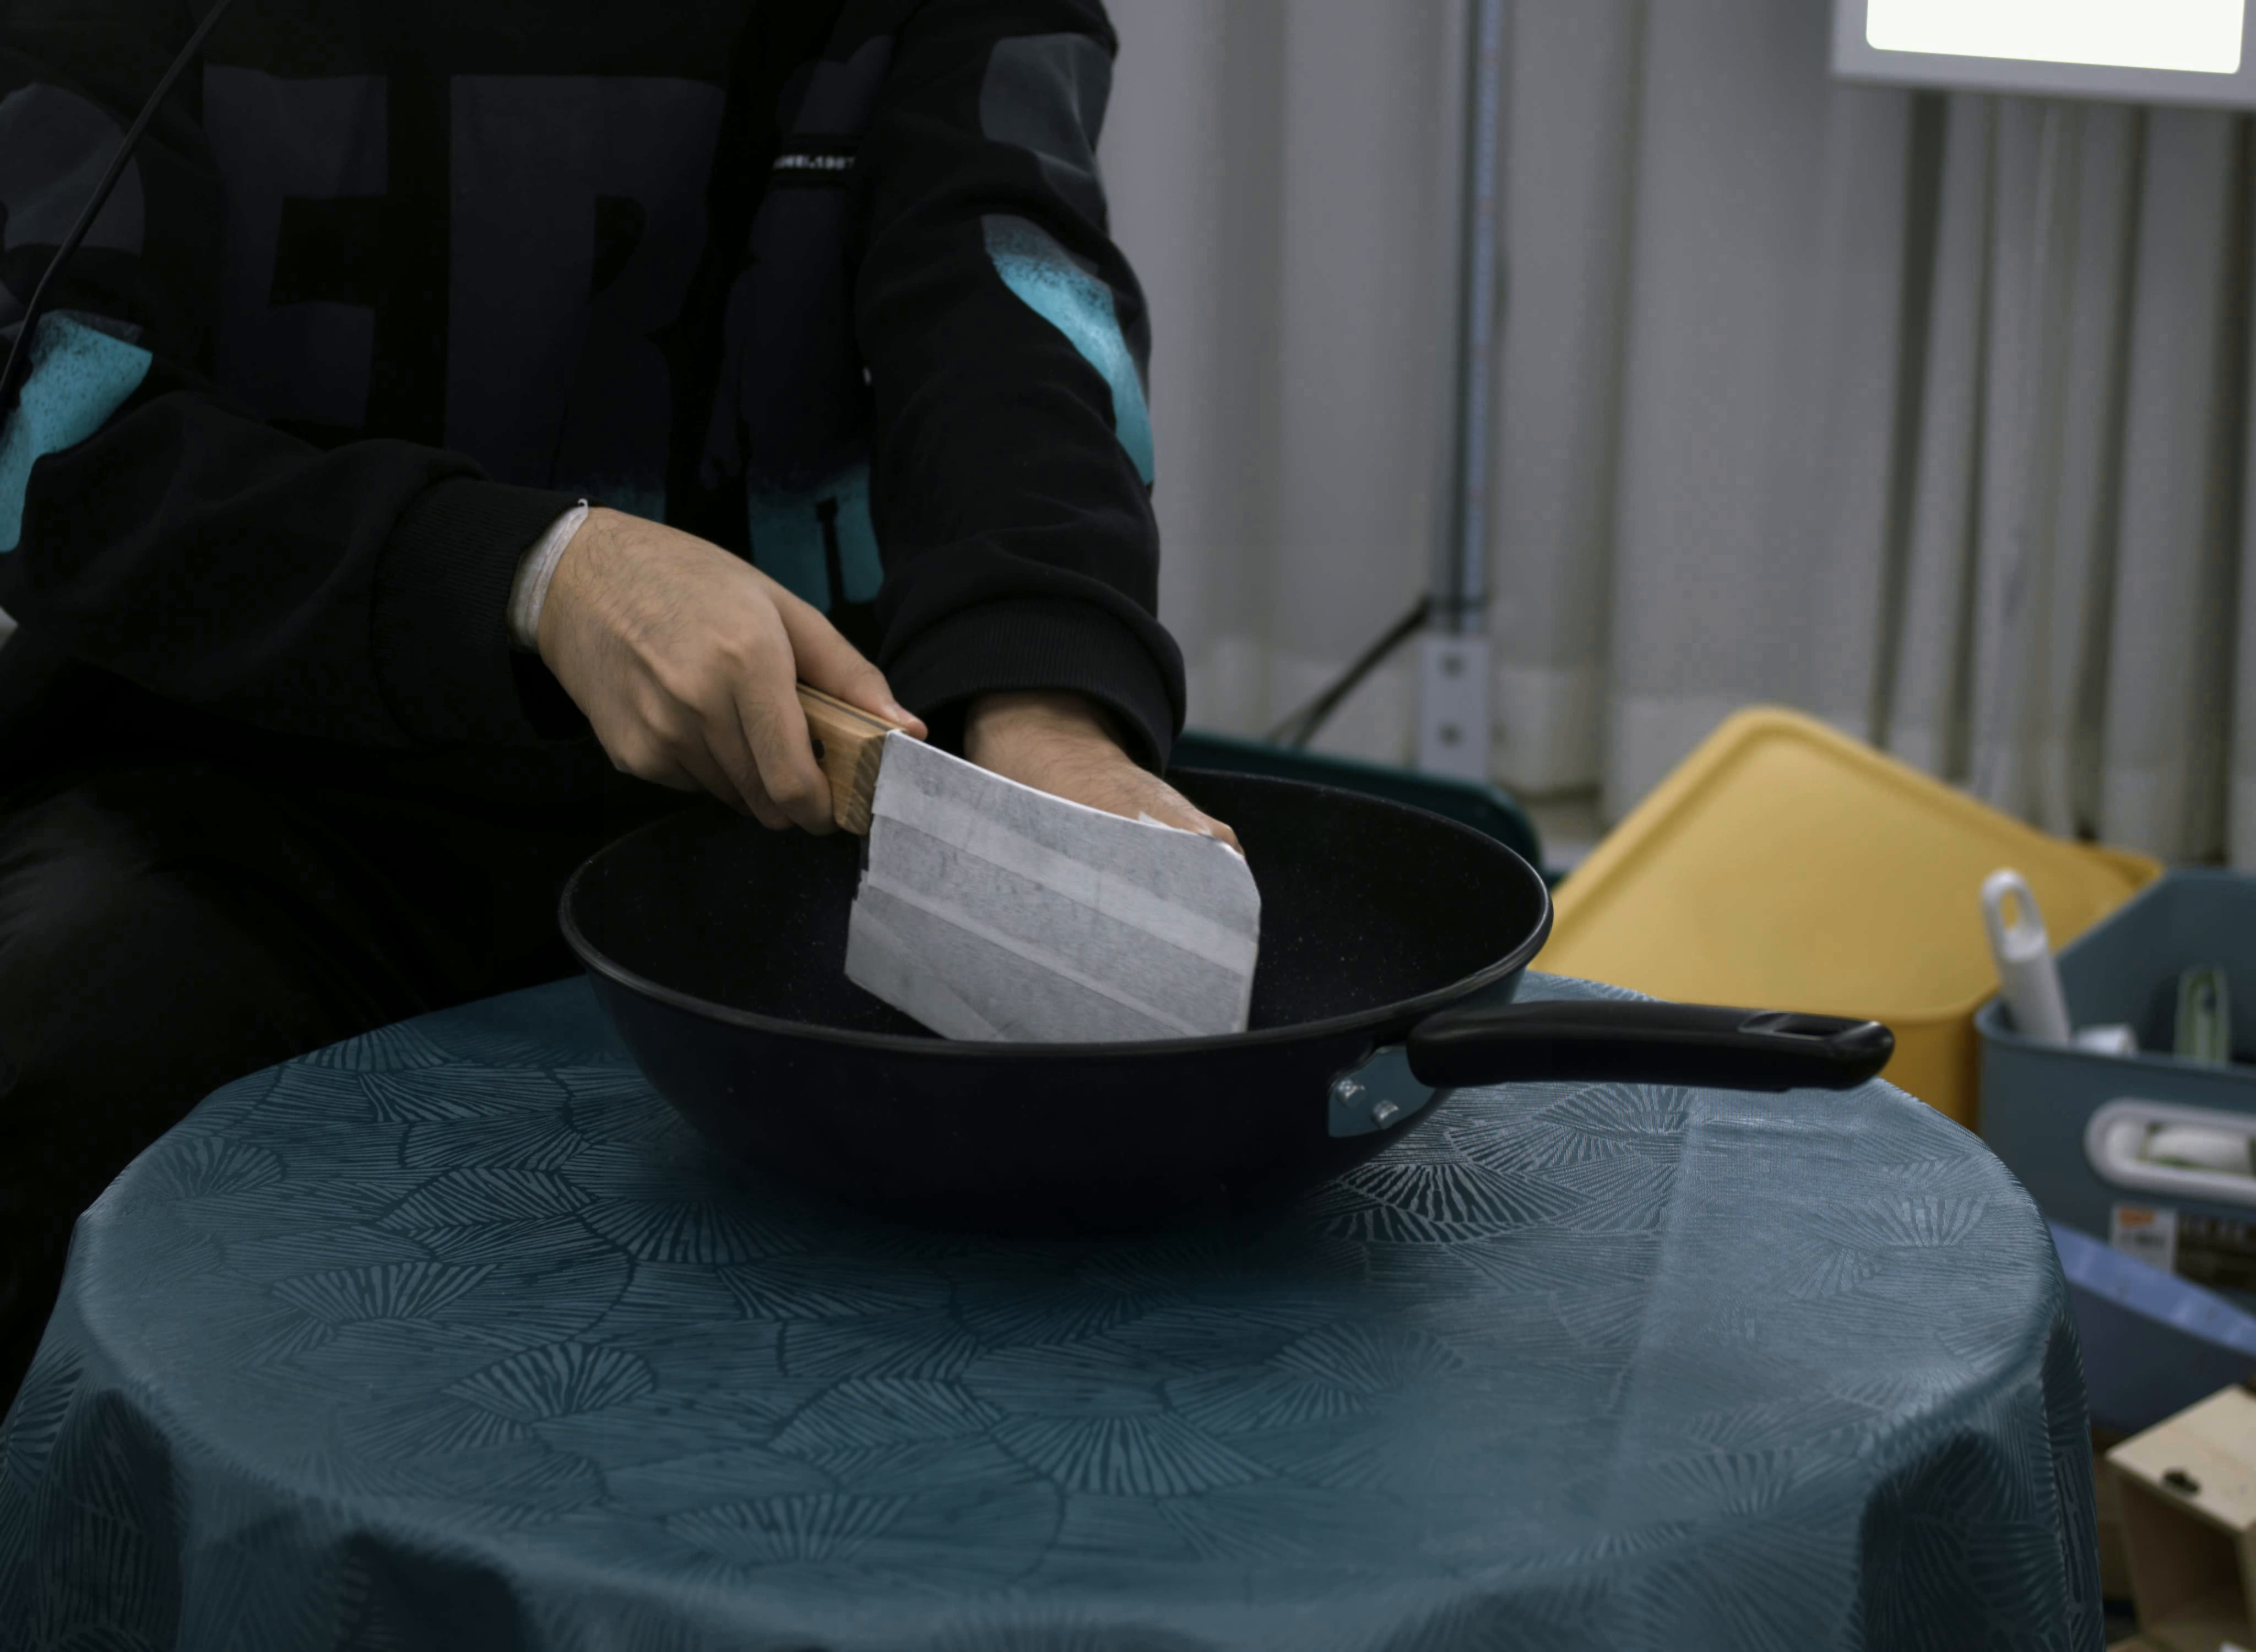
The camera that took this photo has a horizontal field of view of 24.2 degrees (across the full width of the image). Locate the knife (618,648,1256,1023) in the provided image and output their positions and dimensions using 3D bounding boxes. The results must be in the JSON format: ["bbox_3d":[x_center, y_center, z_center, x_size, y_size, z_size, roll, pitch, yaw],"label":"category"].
[{"bbox_3d":[-0.062,0.007,1.666,0.022,0.115,0.311,-8,27,-43],"label":"knife"}]

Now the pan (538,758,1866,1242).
[{"bbox_3d":[0.030,0.066,1.592,0.311,0.112,0.470,-17,23,-42],"label":"pan"}]
